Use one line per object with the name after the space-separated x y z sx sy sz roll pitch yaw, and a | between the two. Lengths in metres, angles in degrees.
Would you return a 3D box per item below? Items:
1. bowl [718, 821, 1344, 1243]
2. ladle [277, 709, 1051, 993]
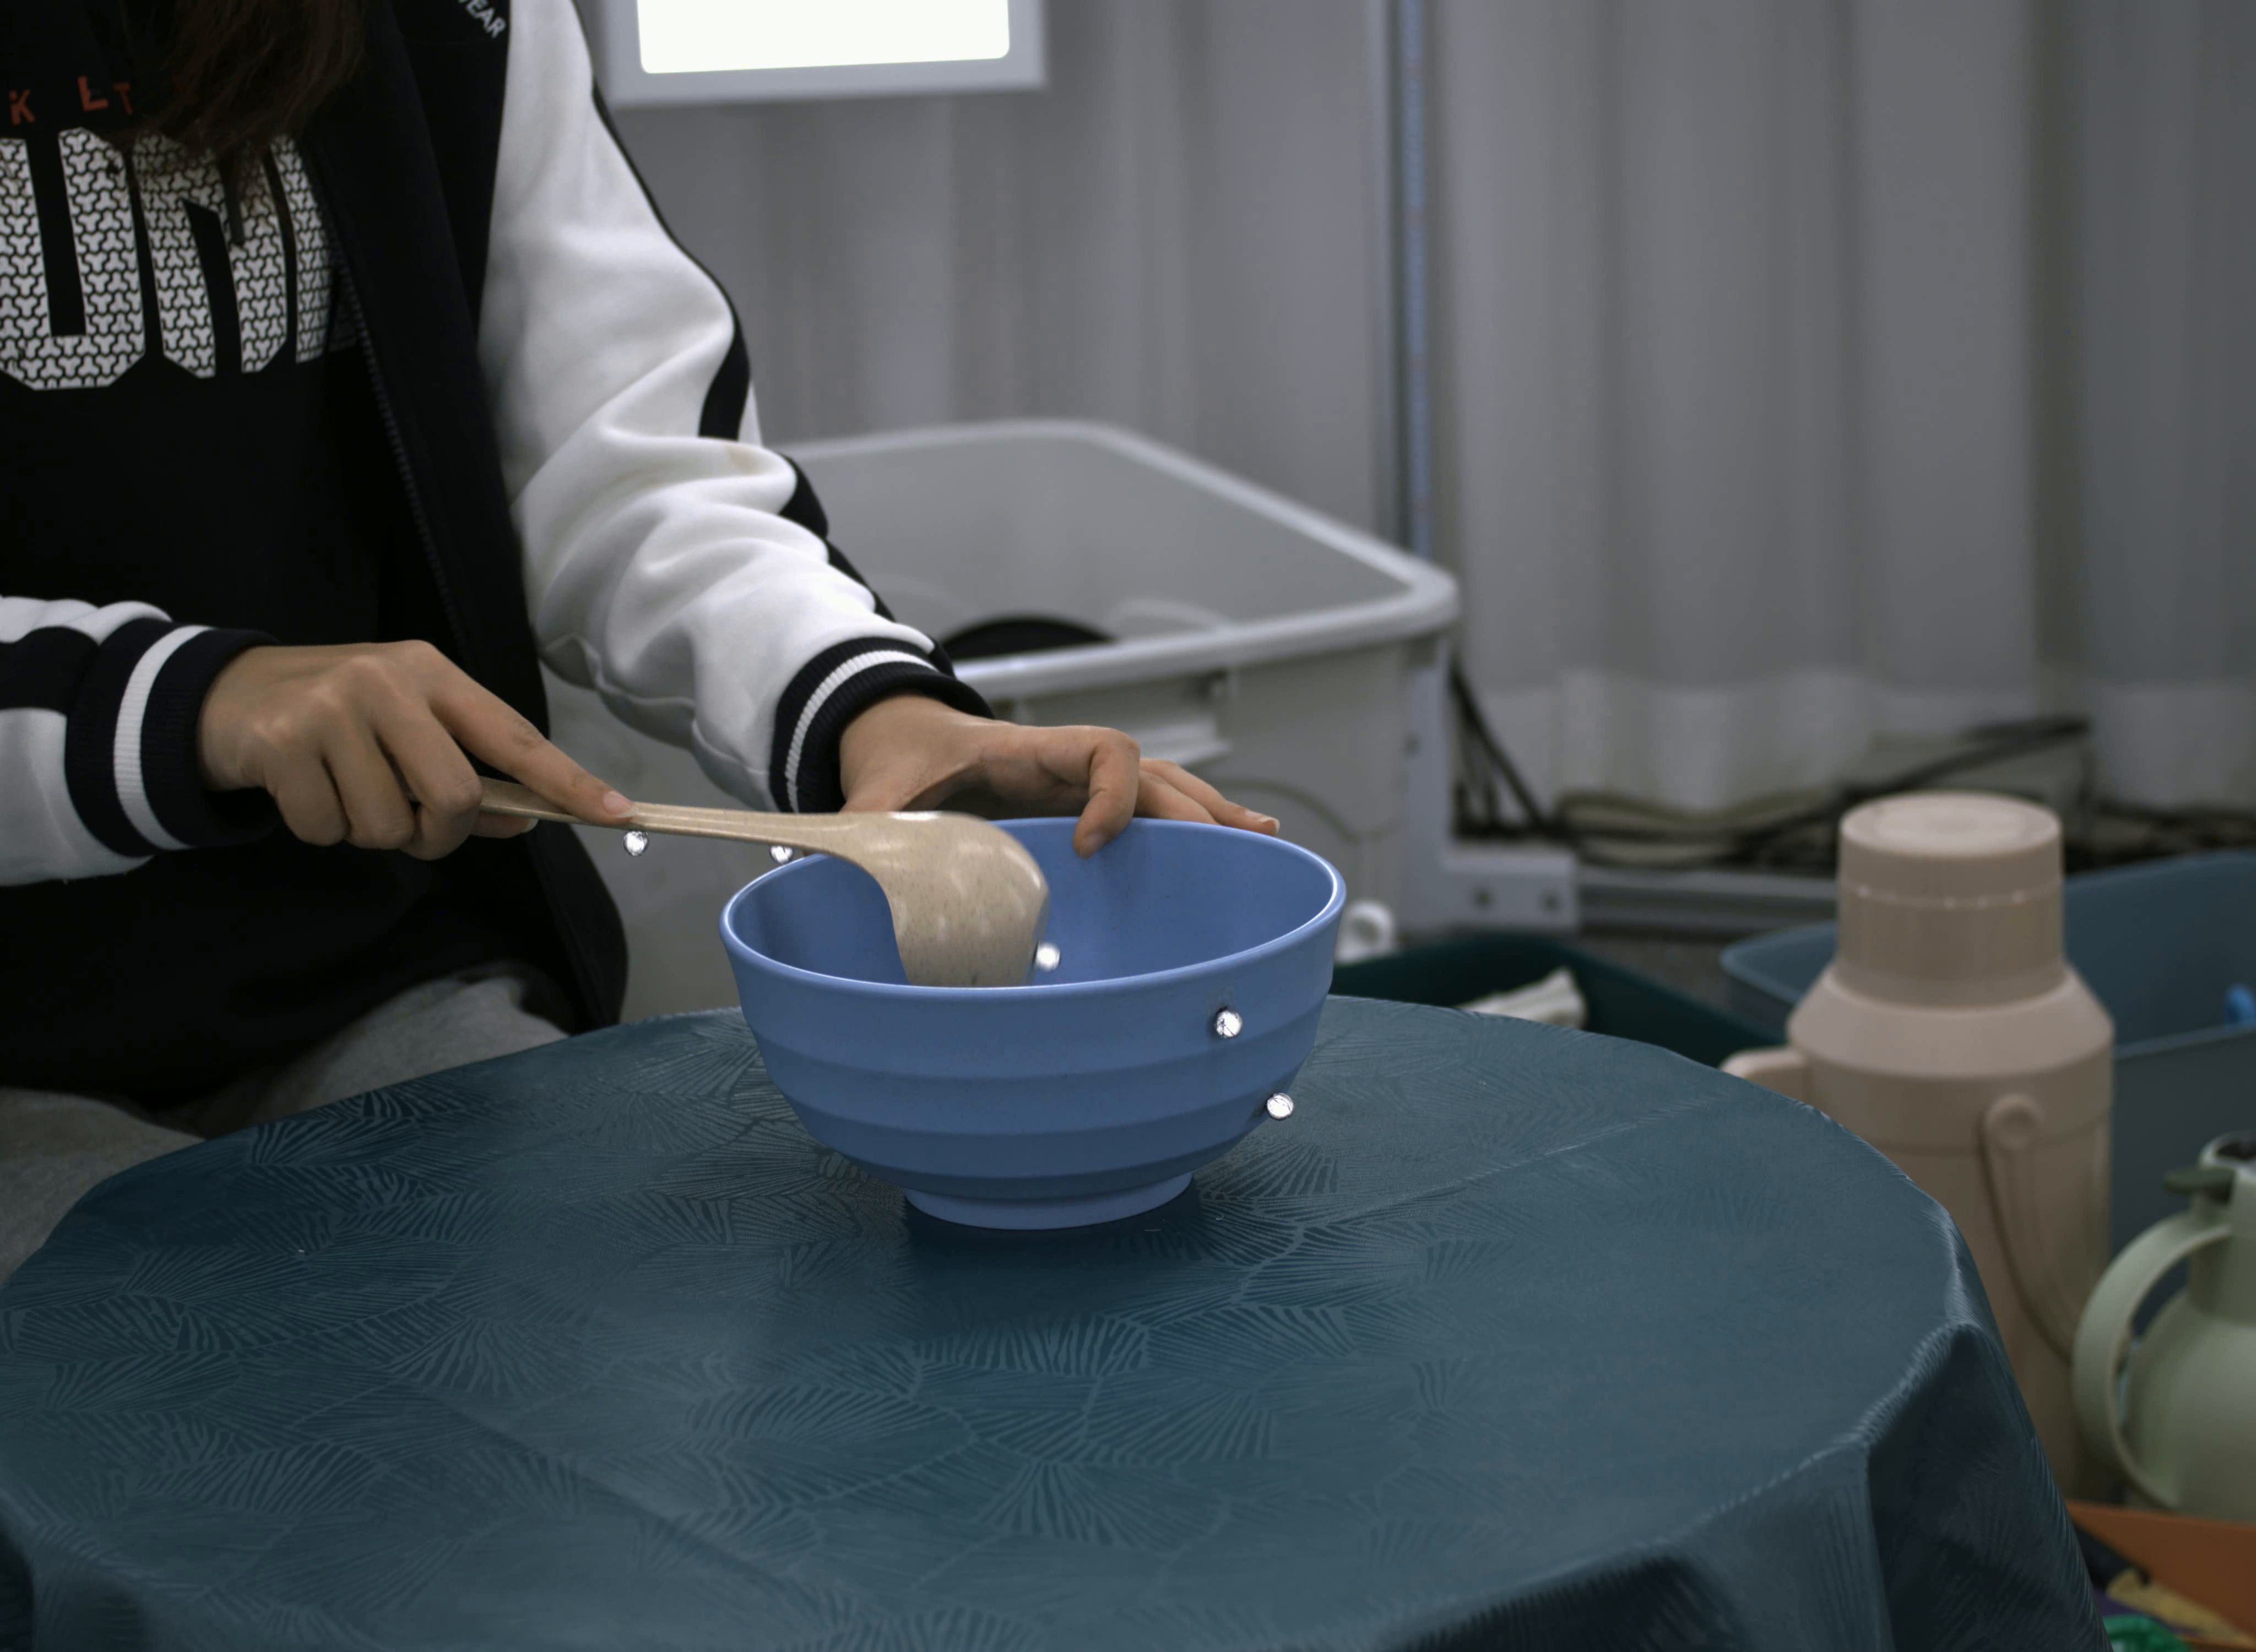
-0.027 0.071 1.715 0.196 0.095 0.198 -4 15 1 | bowl
-0.150 0.018 1.747 0.254 0.072 0.073 11 38 11 | ladle
